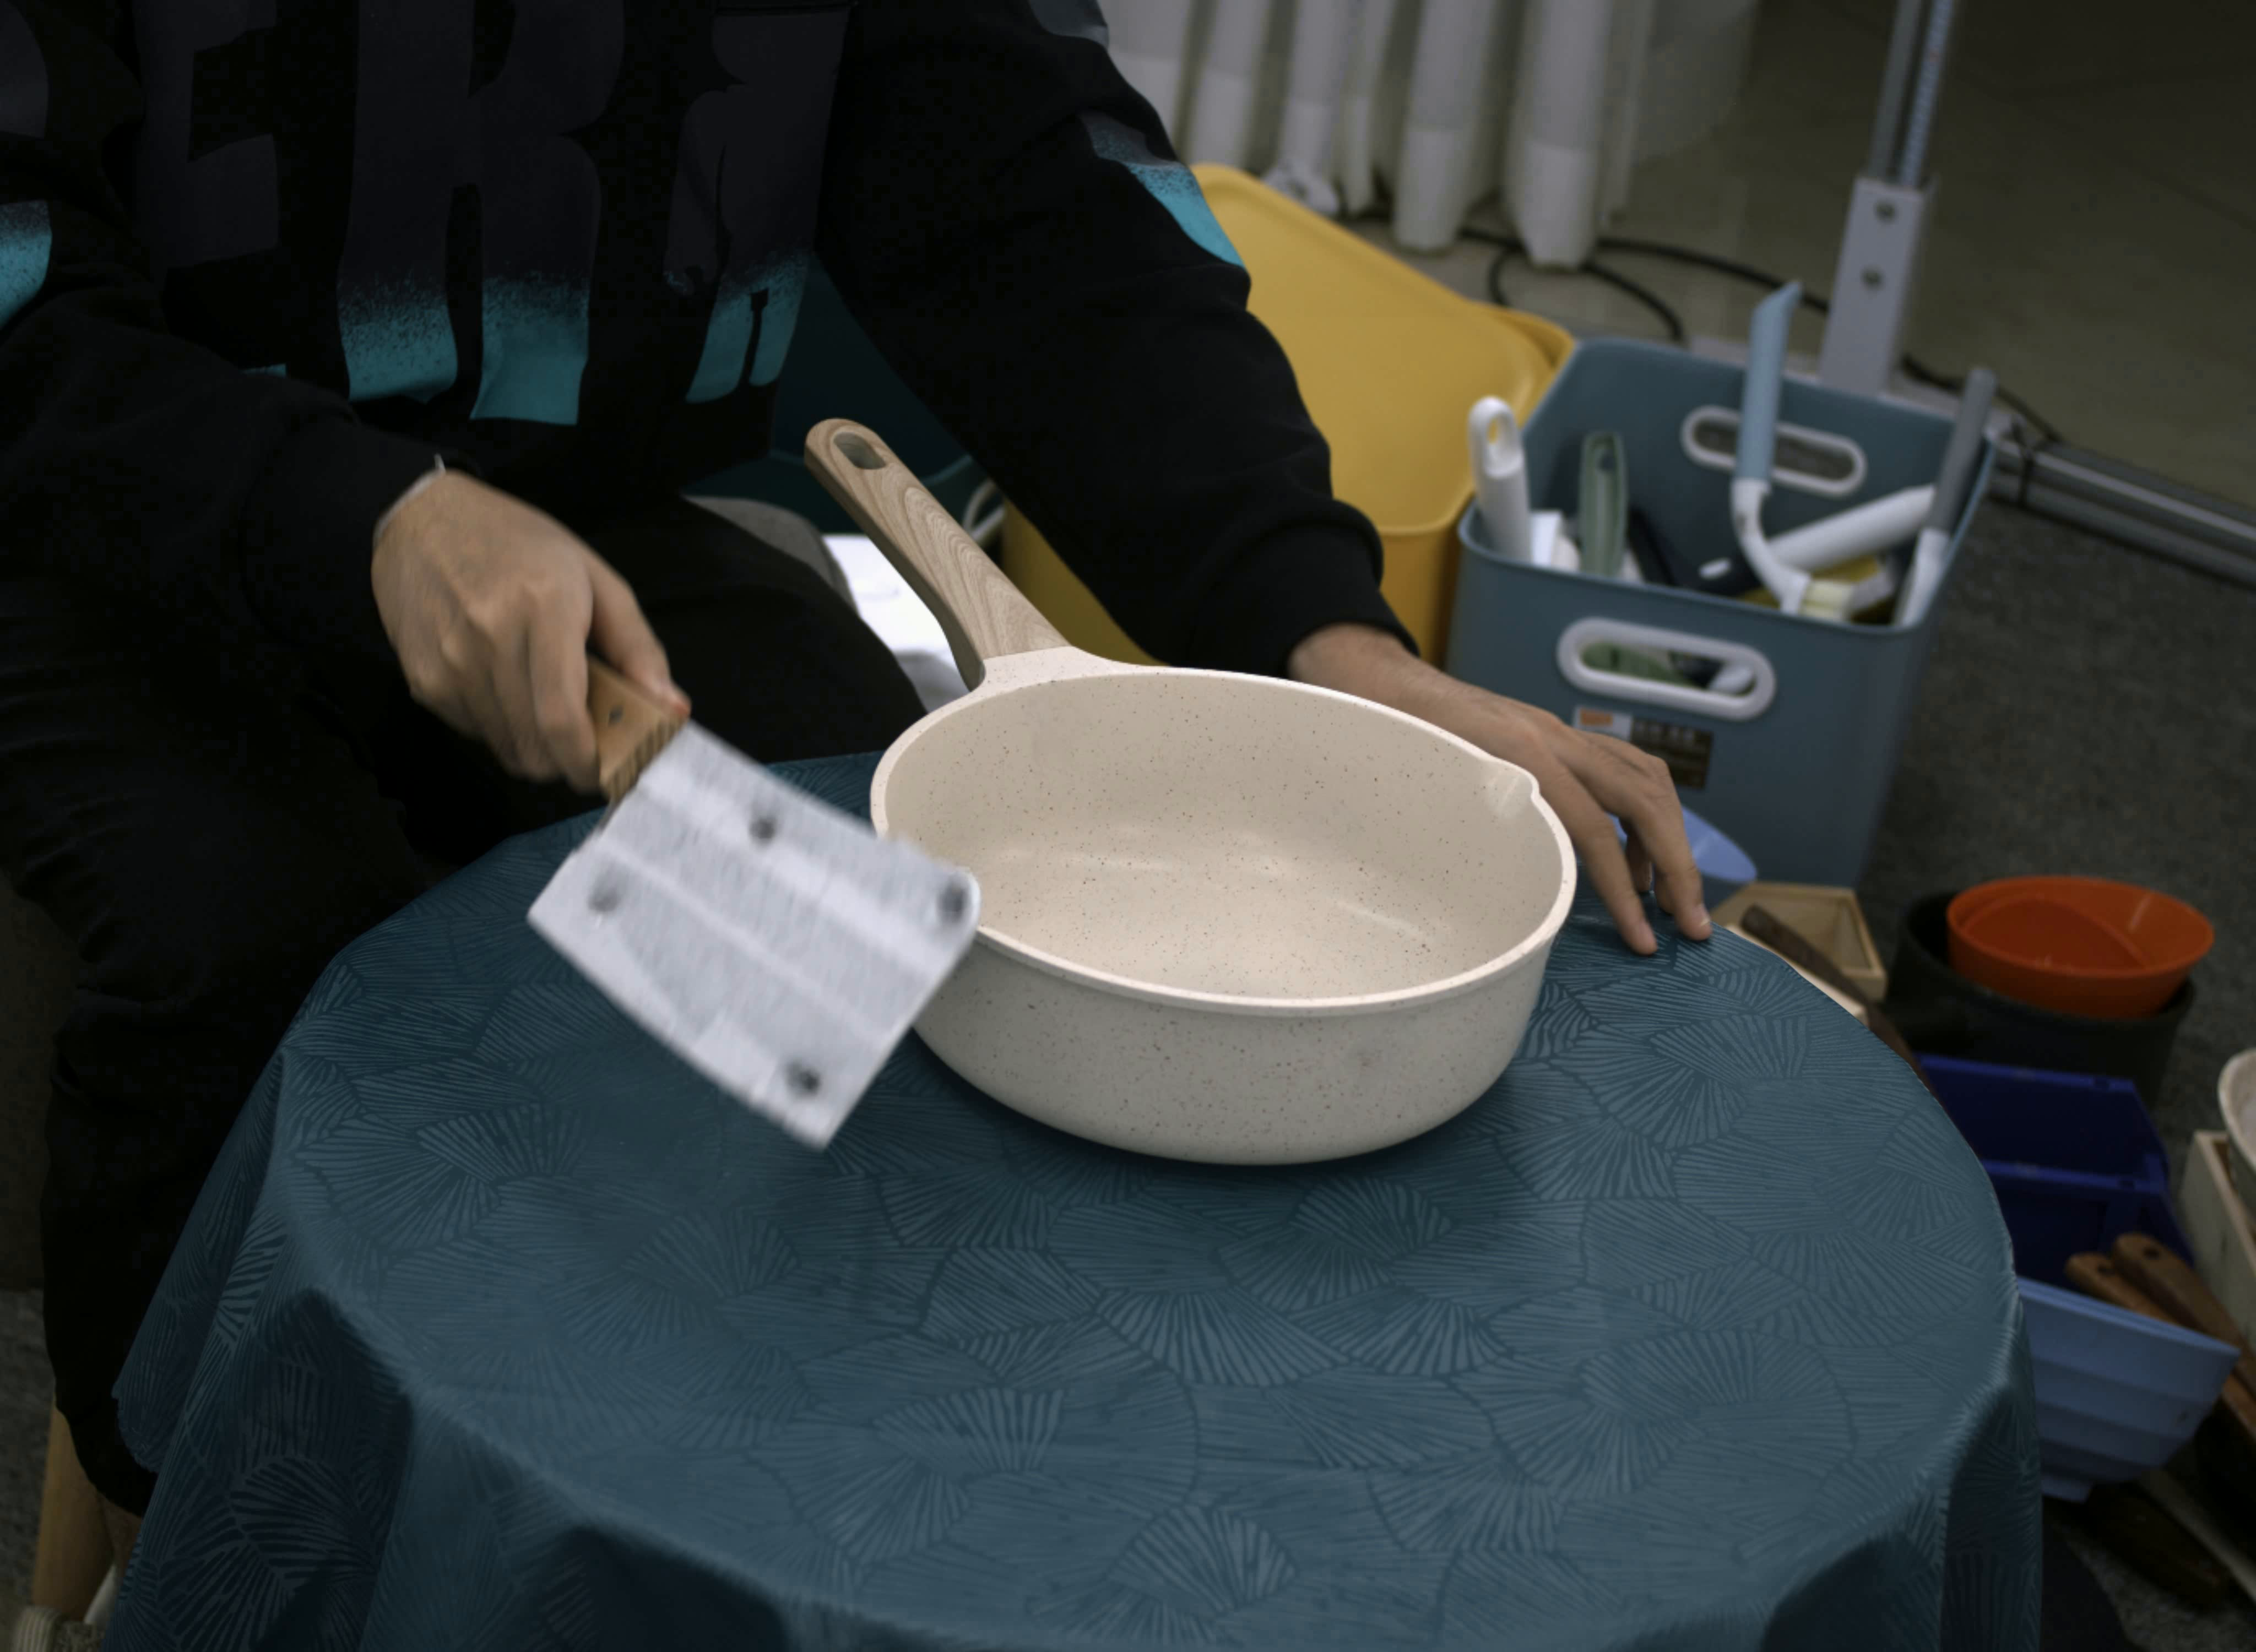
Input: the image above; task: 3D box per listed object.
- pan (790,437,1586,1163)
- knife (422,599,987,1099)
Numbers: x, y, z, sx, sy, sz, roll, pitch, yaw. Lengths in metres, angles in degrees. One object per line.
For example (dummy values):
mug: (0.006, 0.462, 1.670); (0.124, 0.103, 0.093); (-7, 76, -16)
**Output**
pan: (-0.013, -0.013, 1.958); (0.262, 0.101, 0.439); (-12, 33, -28)
knife: (-0.152, -0.006, 1.783); (0.021, 0.114, 0.318); (43, -4, -42)
